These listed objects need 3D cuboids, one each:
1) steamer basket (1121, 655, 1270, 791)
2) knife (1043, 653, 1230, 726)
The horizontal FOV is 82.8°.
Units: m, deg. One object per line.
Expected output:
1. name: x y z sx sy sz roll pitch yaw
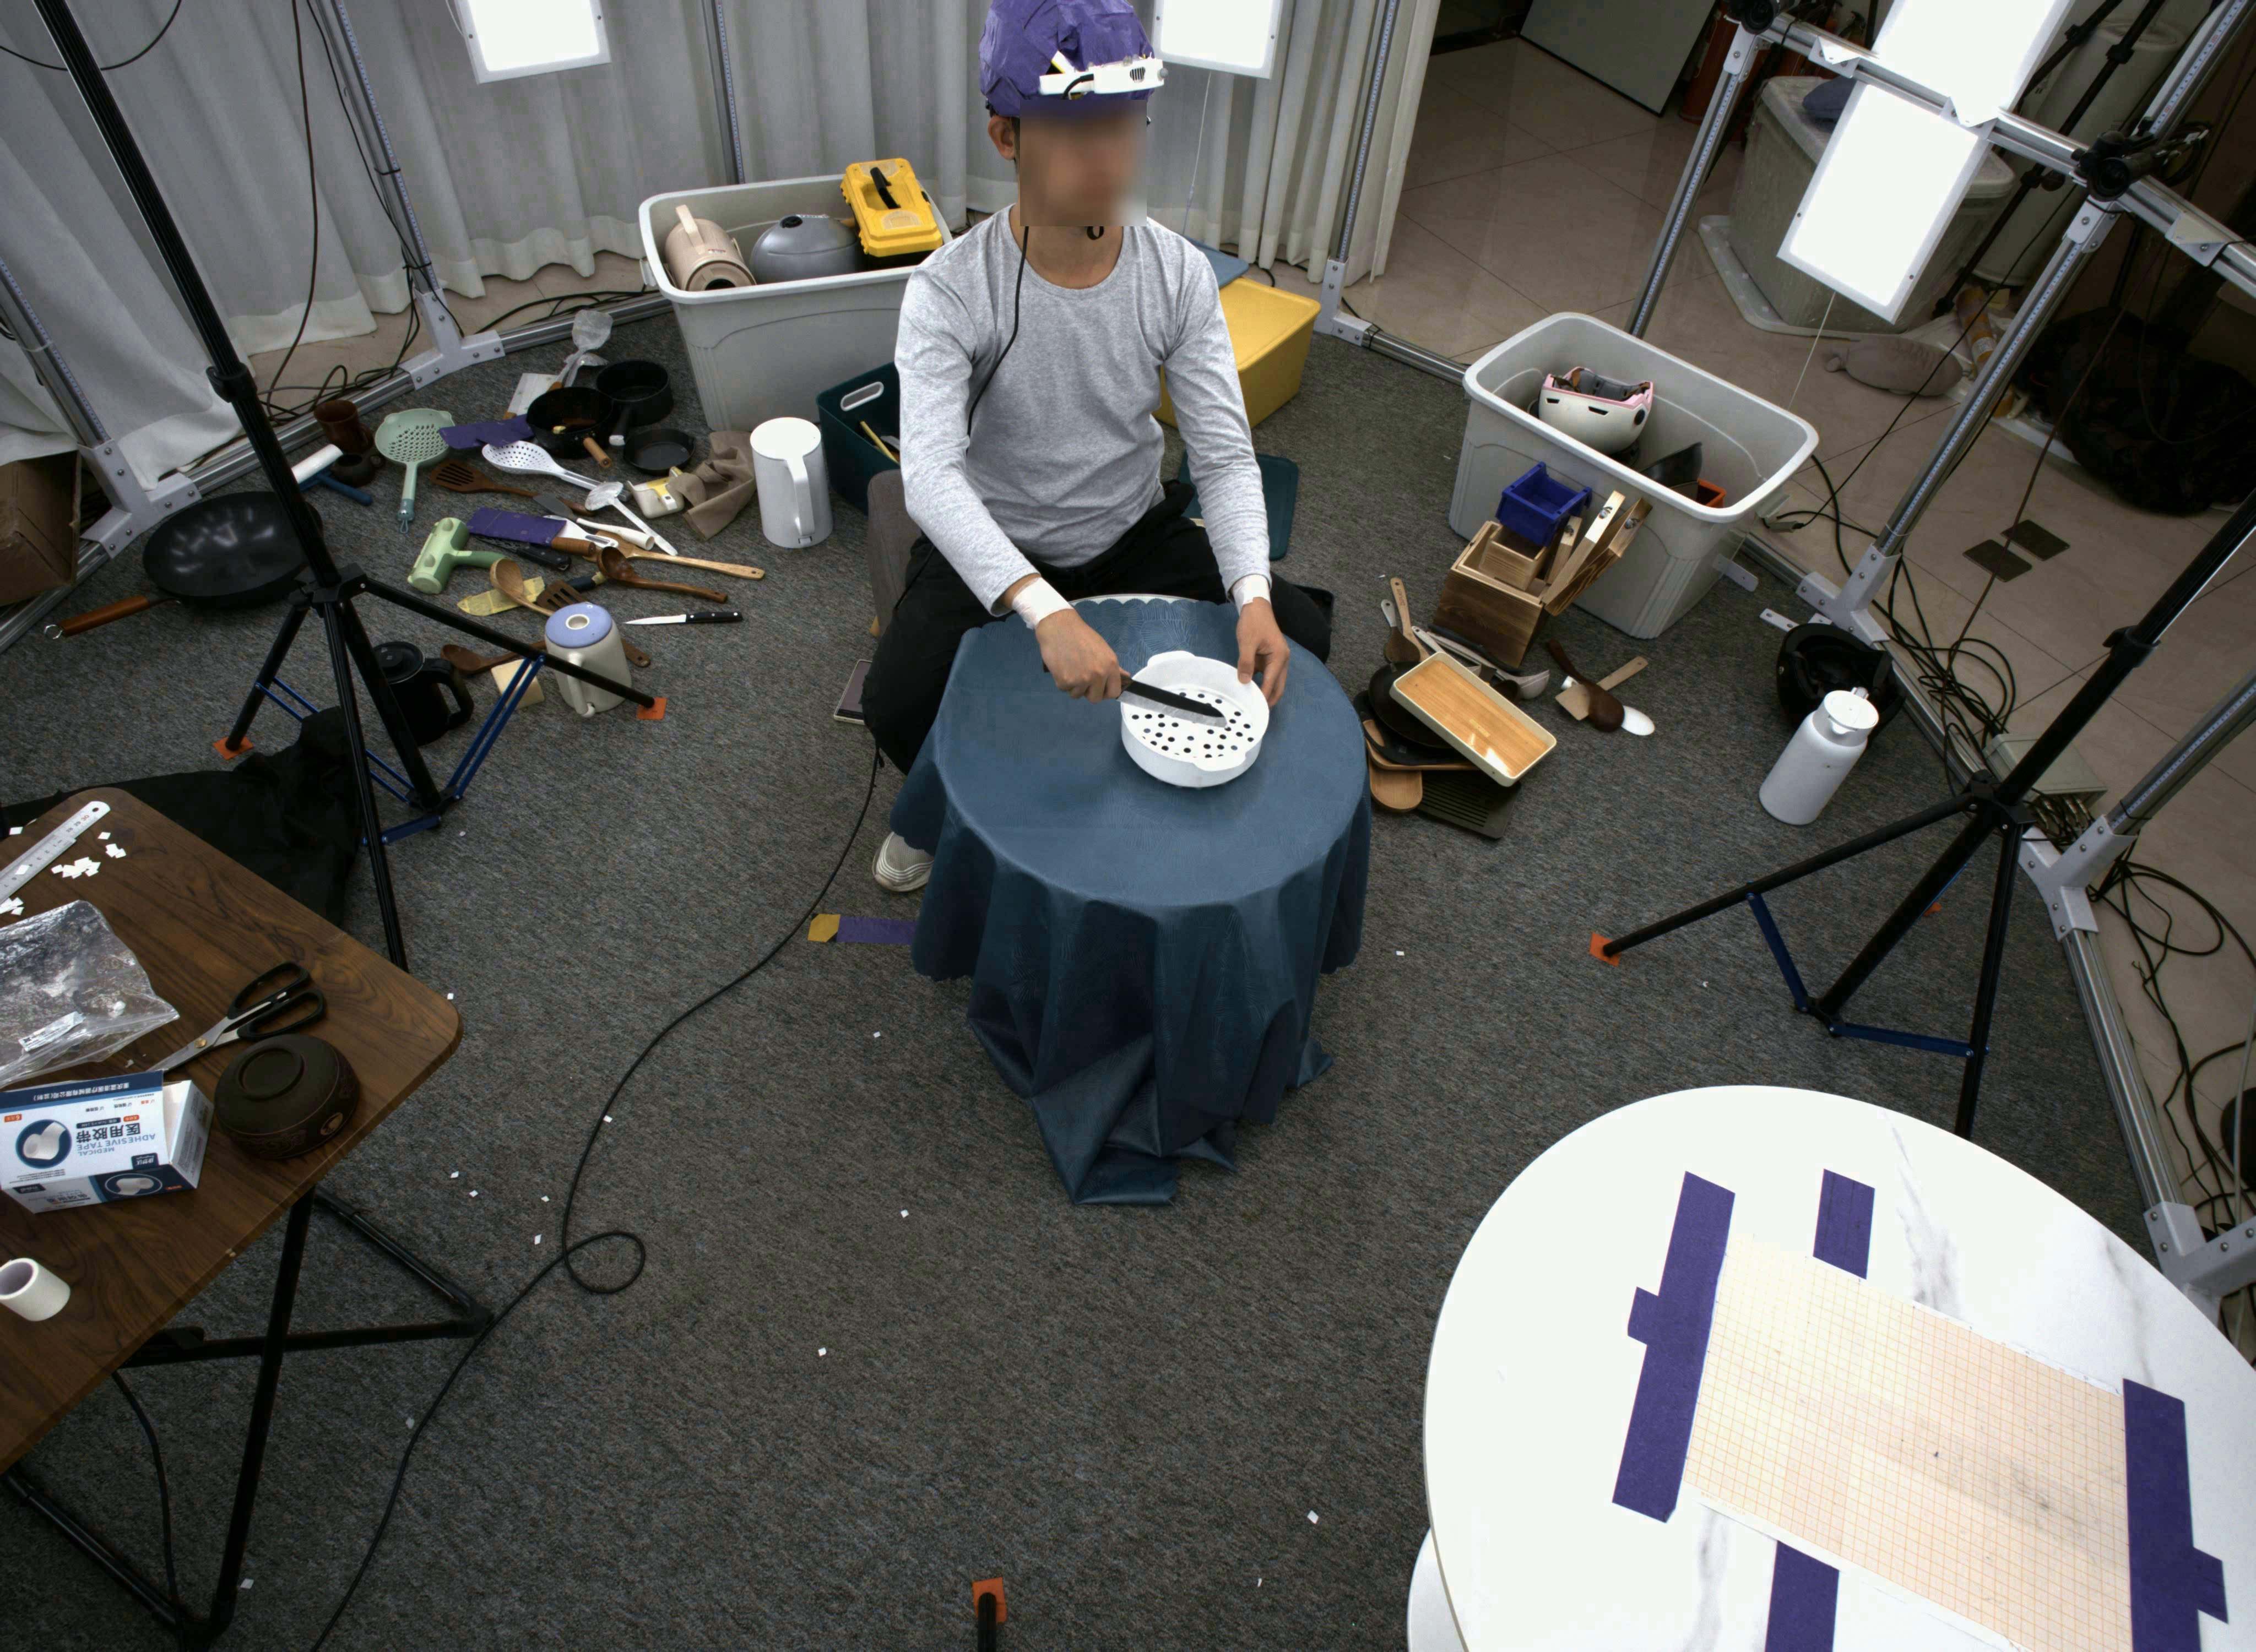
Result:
1. steamer basket: 0.090 -0.137 1.749 0.202 0.067 0.236 -11 50 -14
2. knife: 0.015 -0.177 1.702 0.286 0.049 0.020 16 52 -24
